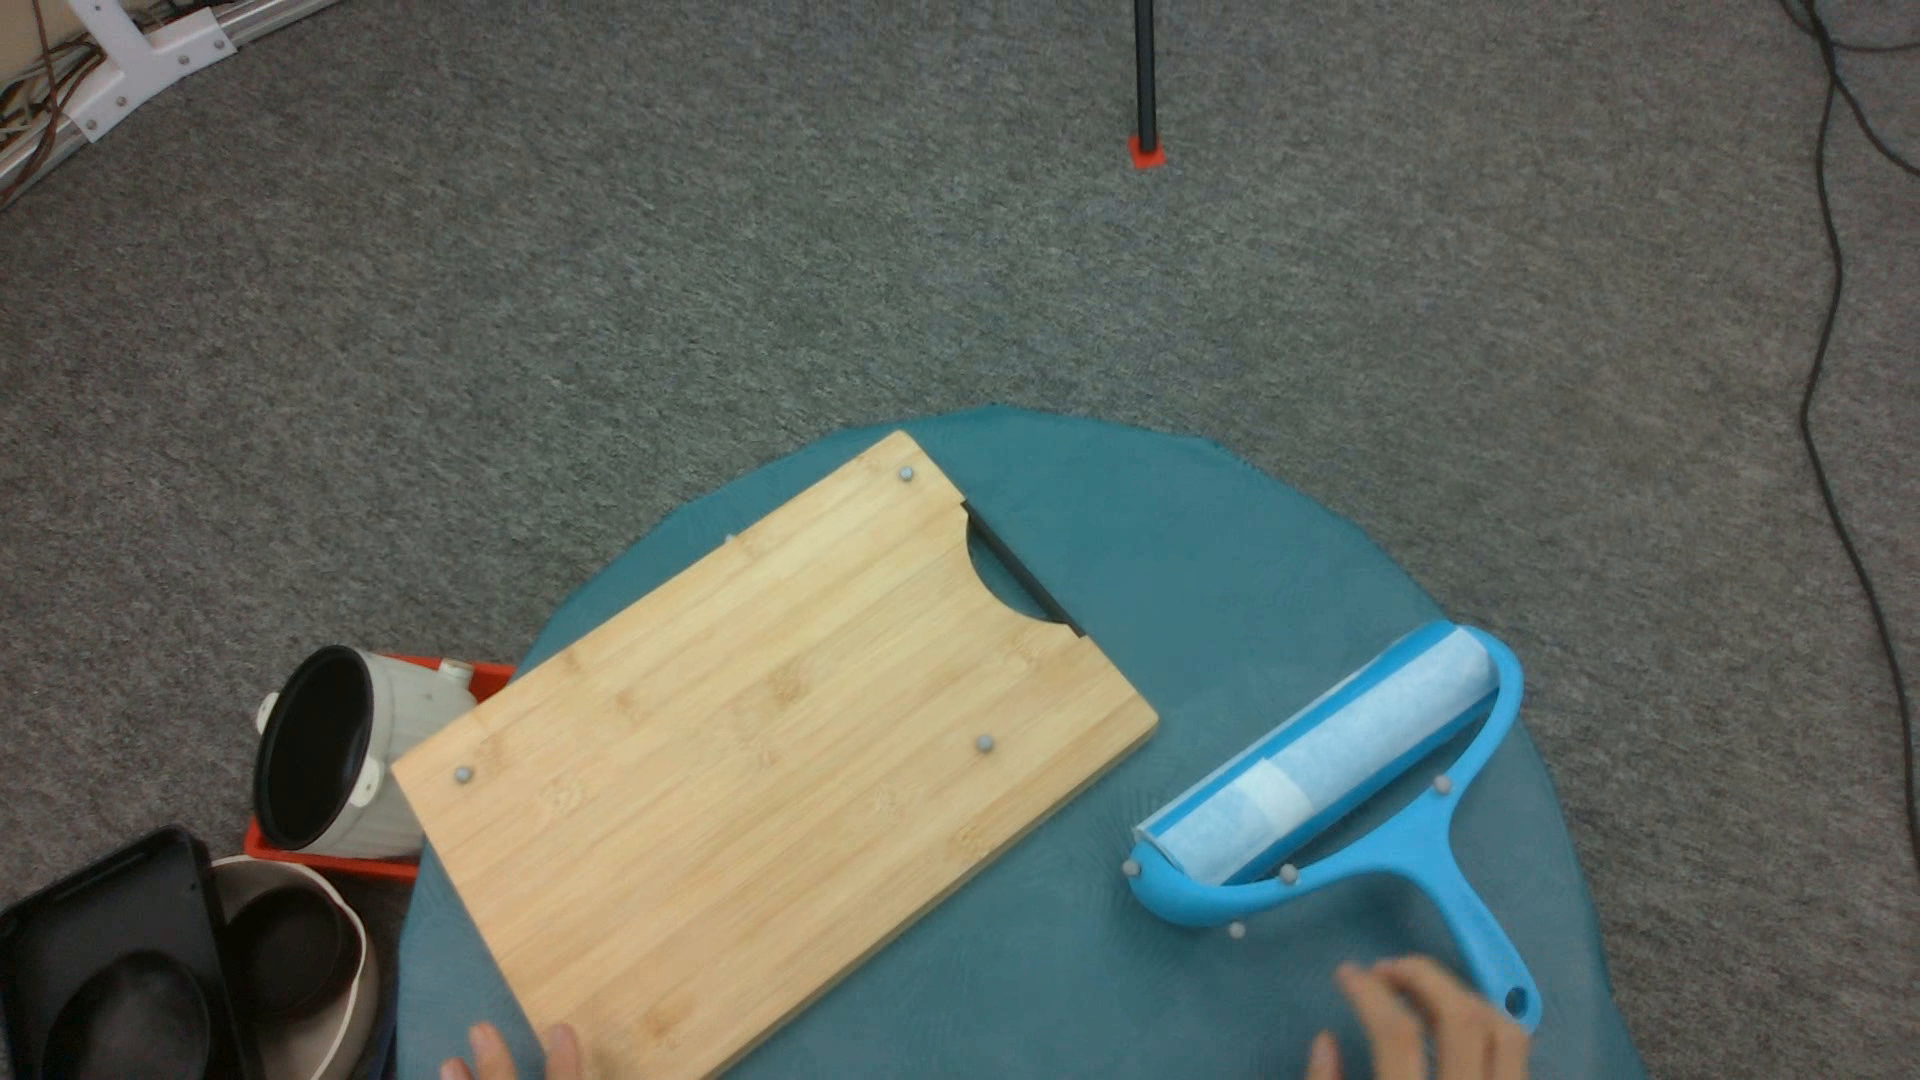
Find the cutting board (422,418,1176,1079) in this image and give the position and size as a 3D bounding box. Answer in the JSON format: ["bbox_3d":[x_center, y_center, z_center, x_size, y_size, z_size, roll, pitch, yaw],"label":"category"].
[{"bbox_3d":[-0.094,0.105,0.757,0.349,0.023,0.251,-36,64,-14],"label":"cutting board"}]

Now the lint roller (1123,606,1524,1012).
[{"bbox_3d":[0.215,0.147,0.681,0.229,0.067,0.180,-34,62,-14],"label":"lint roller"}]
